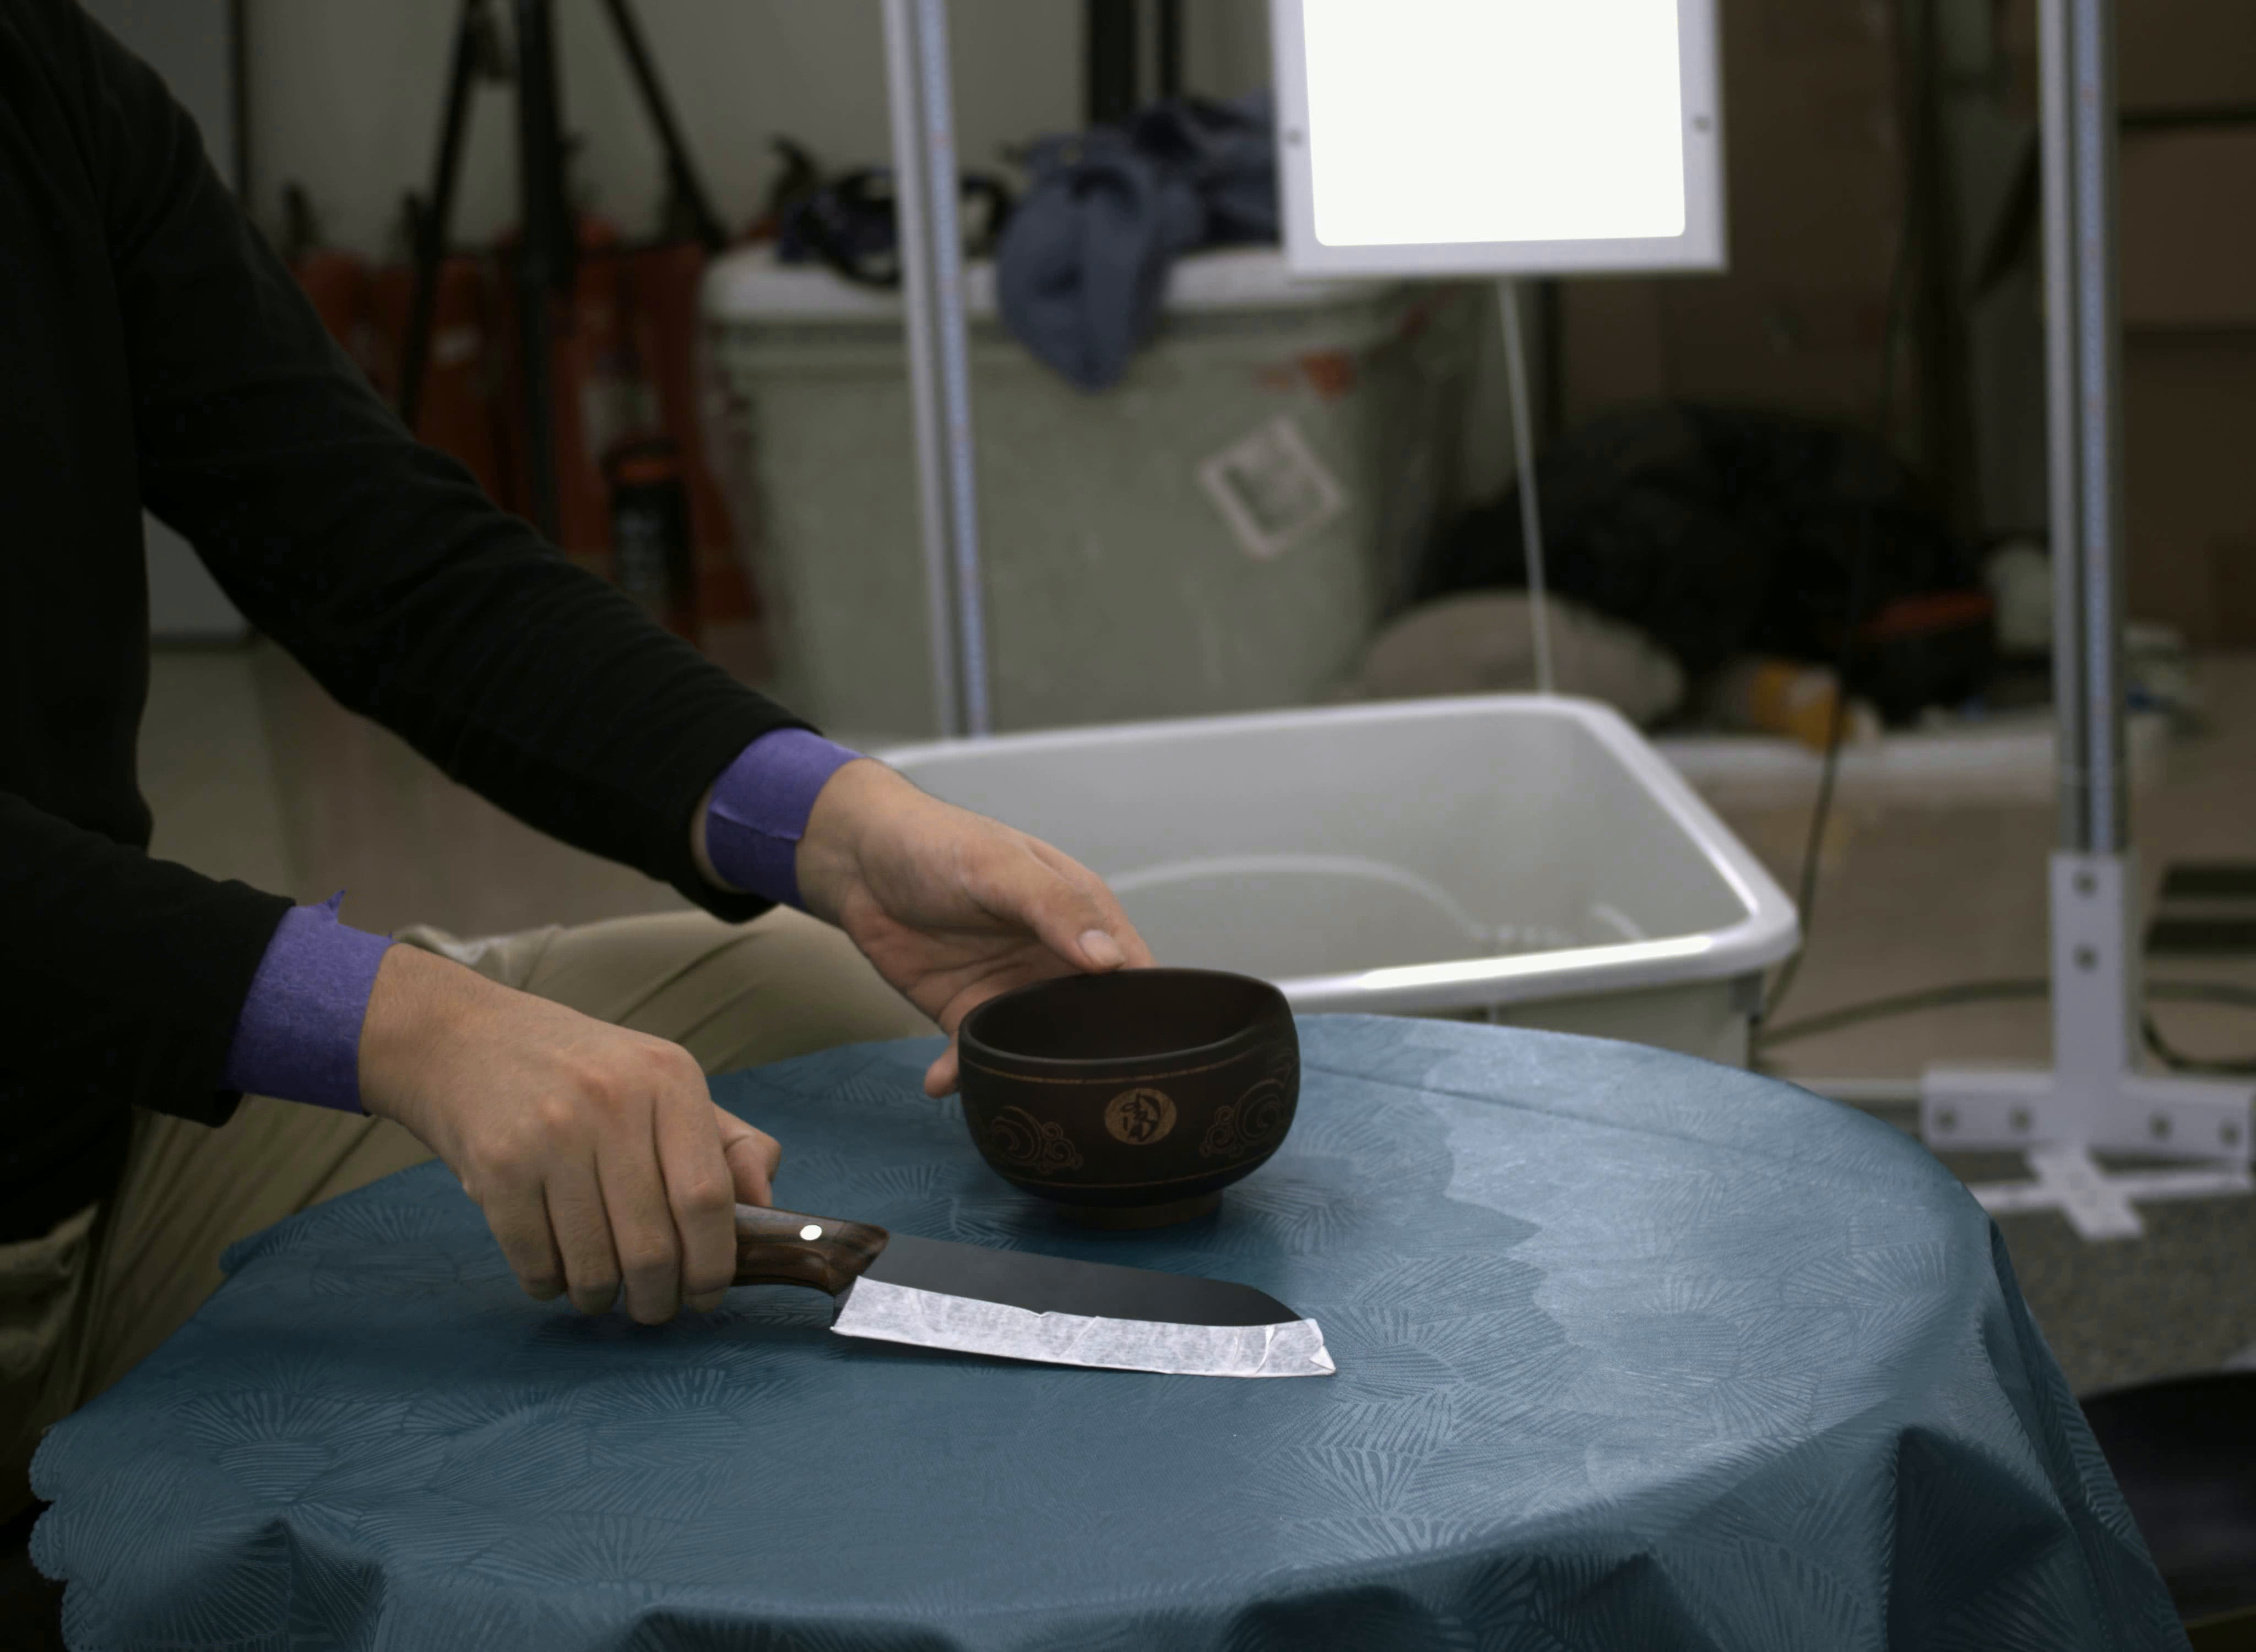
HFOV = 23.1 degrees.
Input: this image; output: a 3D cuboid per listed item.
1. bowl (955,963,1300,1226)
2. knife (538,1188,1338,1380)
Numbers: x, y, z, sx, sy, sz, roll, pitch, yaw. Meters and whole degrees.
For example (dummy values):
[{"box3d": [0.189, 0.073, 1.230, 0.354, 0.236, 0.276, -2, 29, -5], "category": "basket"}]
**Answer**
[{"box3d": [0.001, 0.095, 1.875, 0.118, 0.070, 0.118, -5, 13, 0], "category": "bowl"}, {"box3d": [-0.065, 0.148, 1.765, 0.293, 0.020, 0.049, 8, 47, 25], "category": "knife"}]
